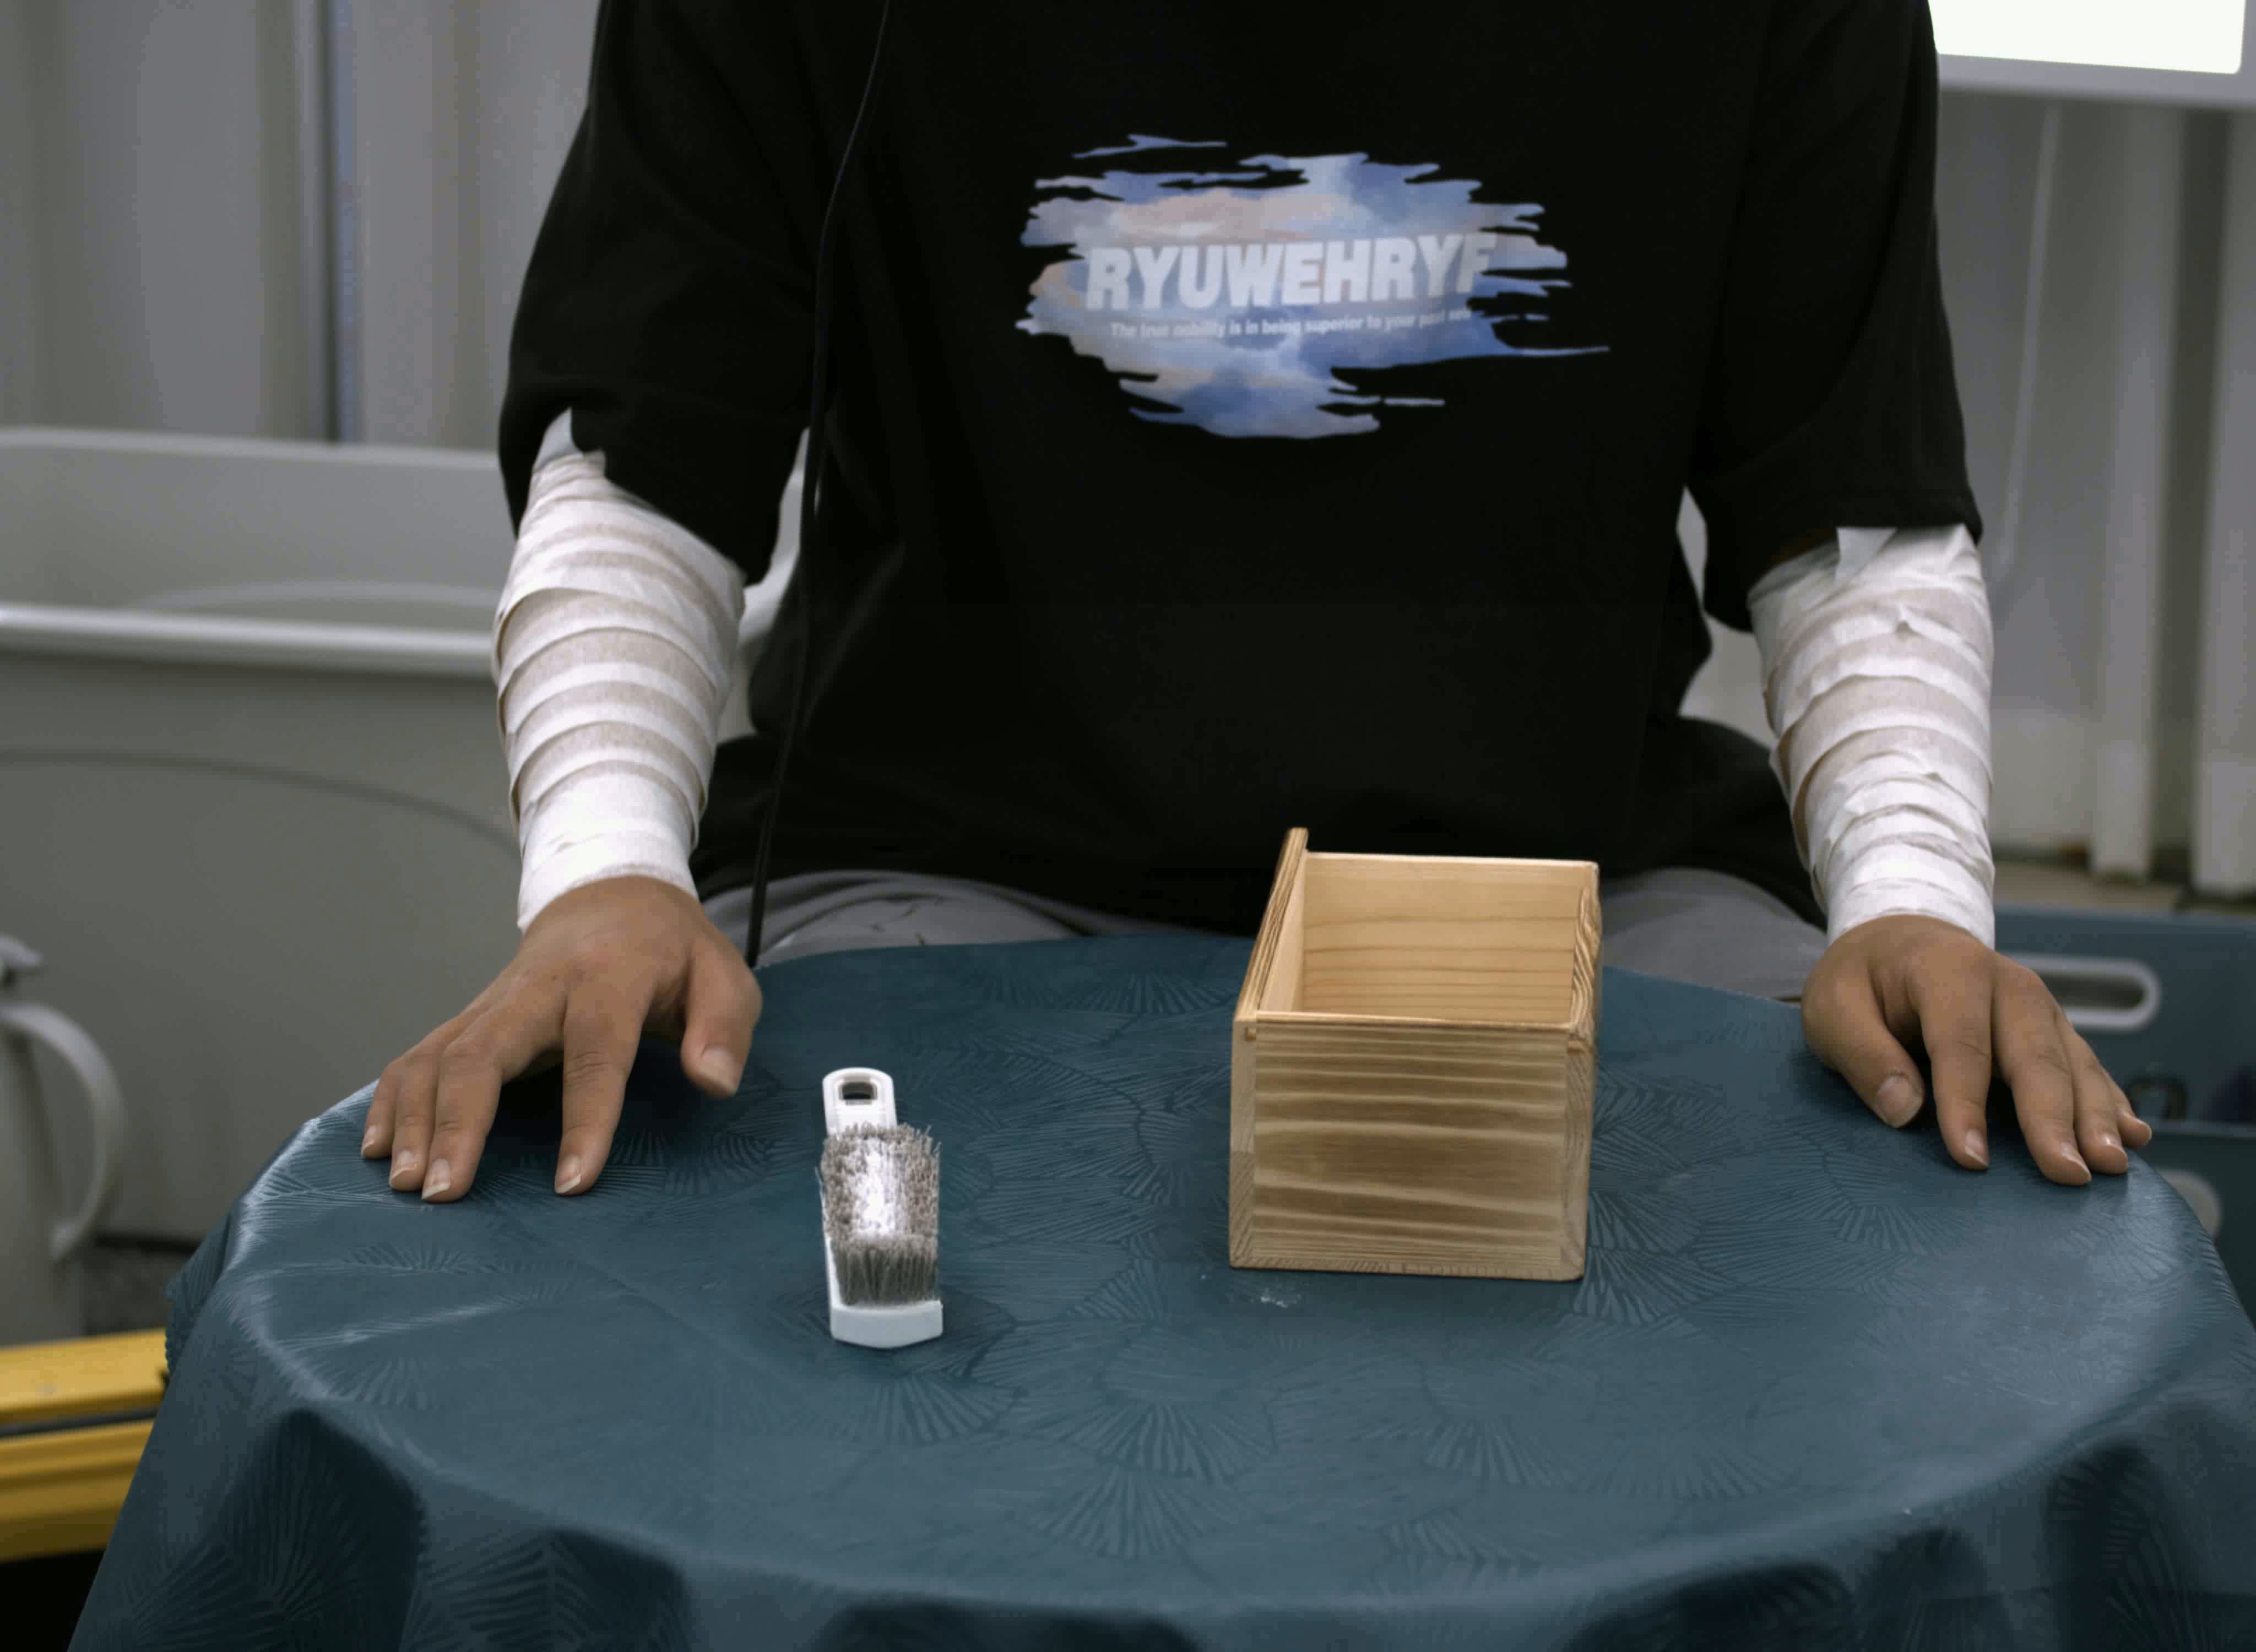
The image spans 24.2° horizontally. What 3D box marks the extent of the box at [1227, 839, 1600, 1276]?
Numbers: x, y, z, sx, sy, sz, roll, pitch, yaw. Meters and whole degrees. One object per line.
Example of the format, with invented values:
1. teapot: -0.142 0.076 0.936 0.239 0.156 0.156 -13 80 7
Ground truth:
1. box: 0.092 0.068 1.640 0.107 0.081 0.210 1 14 5

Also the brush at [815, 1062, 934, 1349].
1. brush: -0.078 0.094 1.591 0.034 0.050 0.242 0 16 -3
